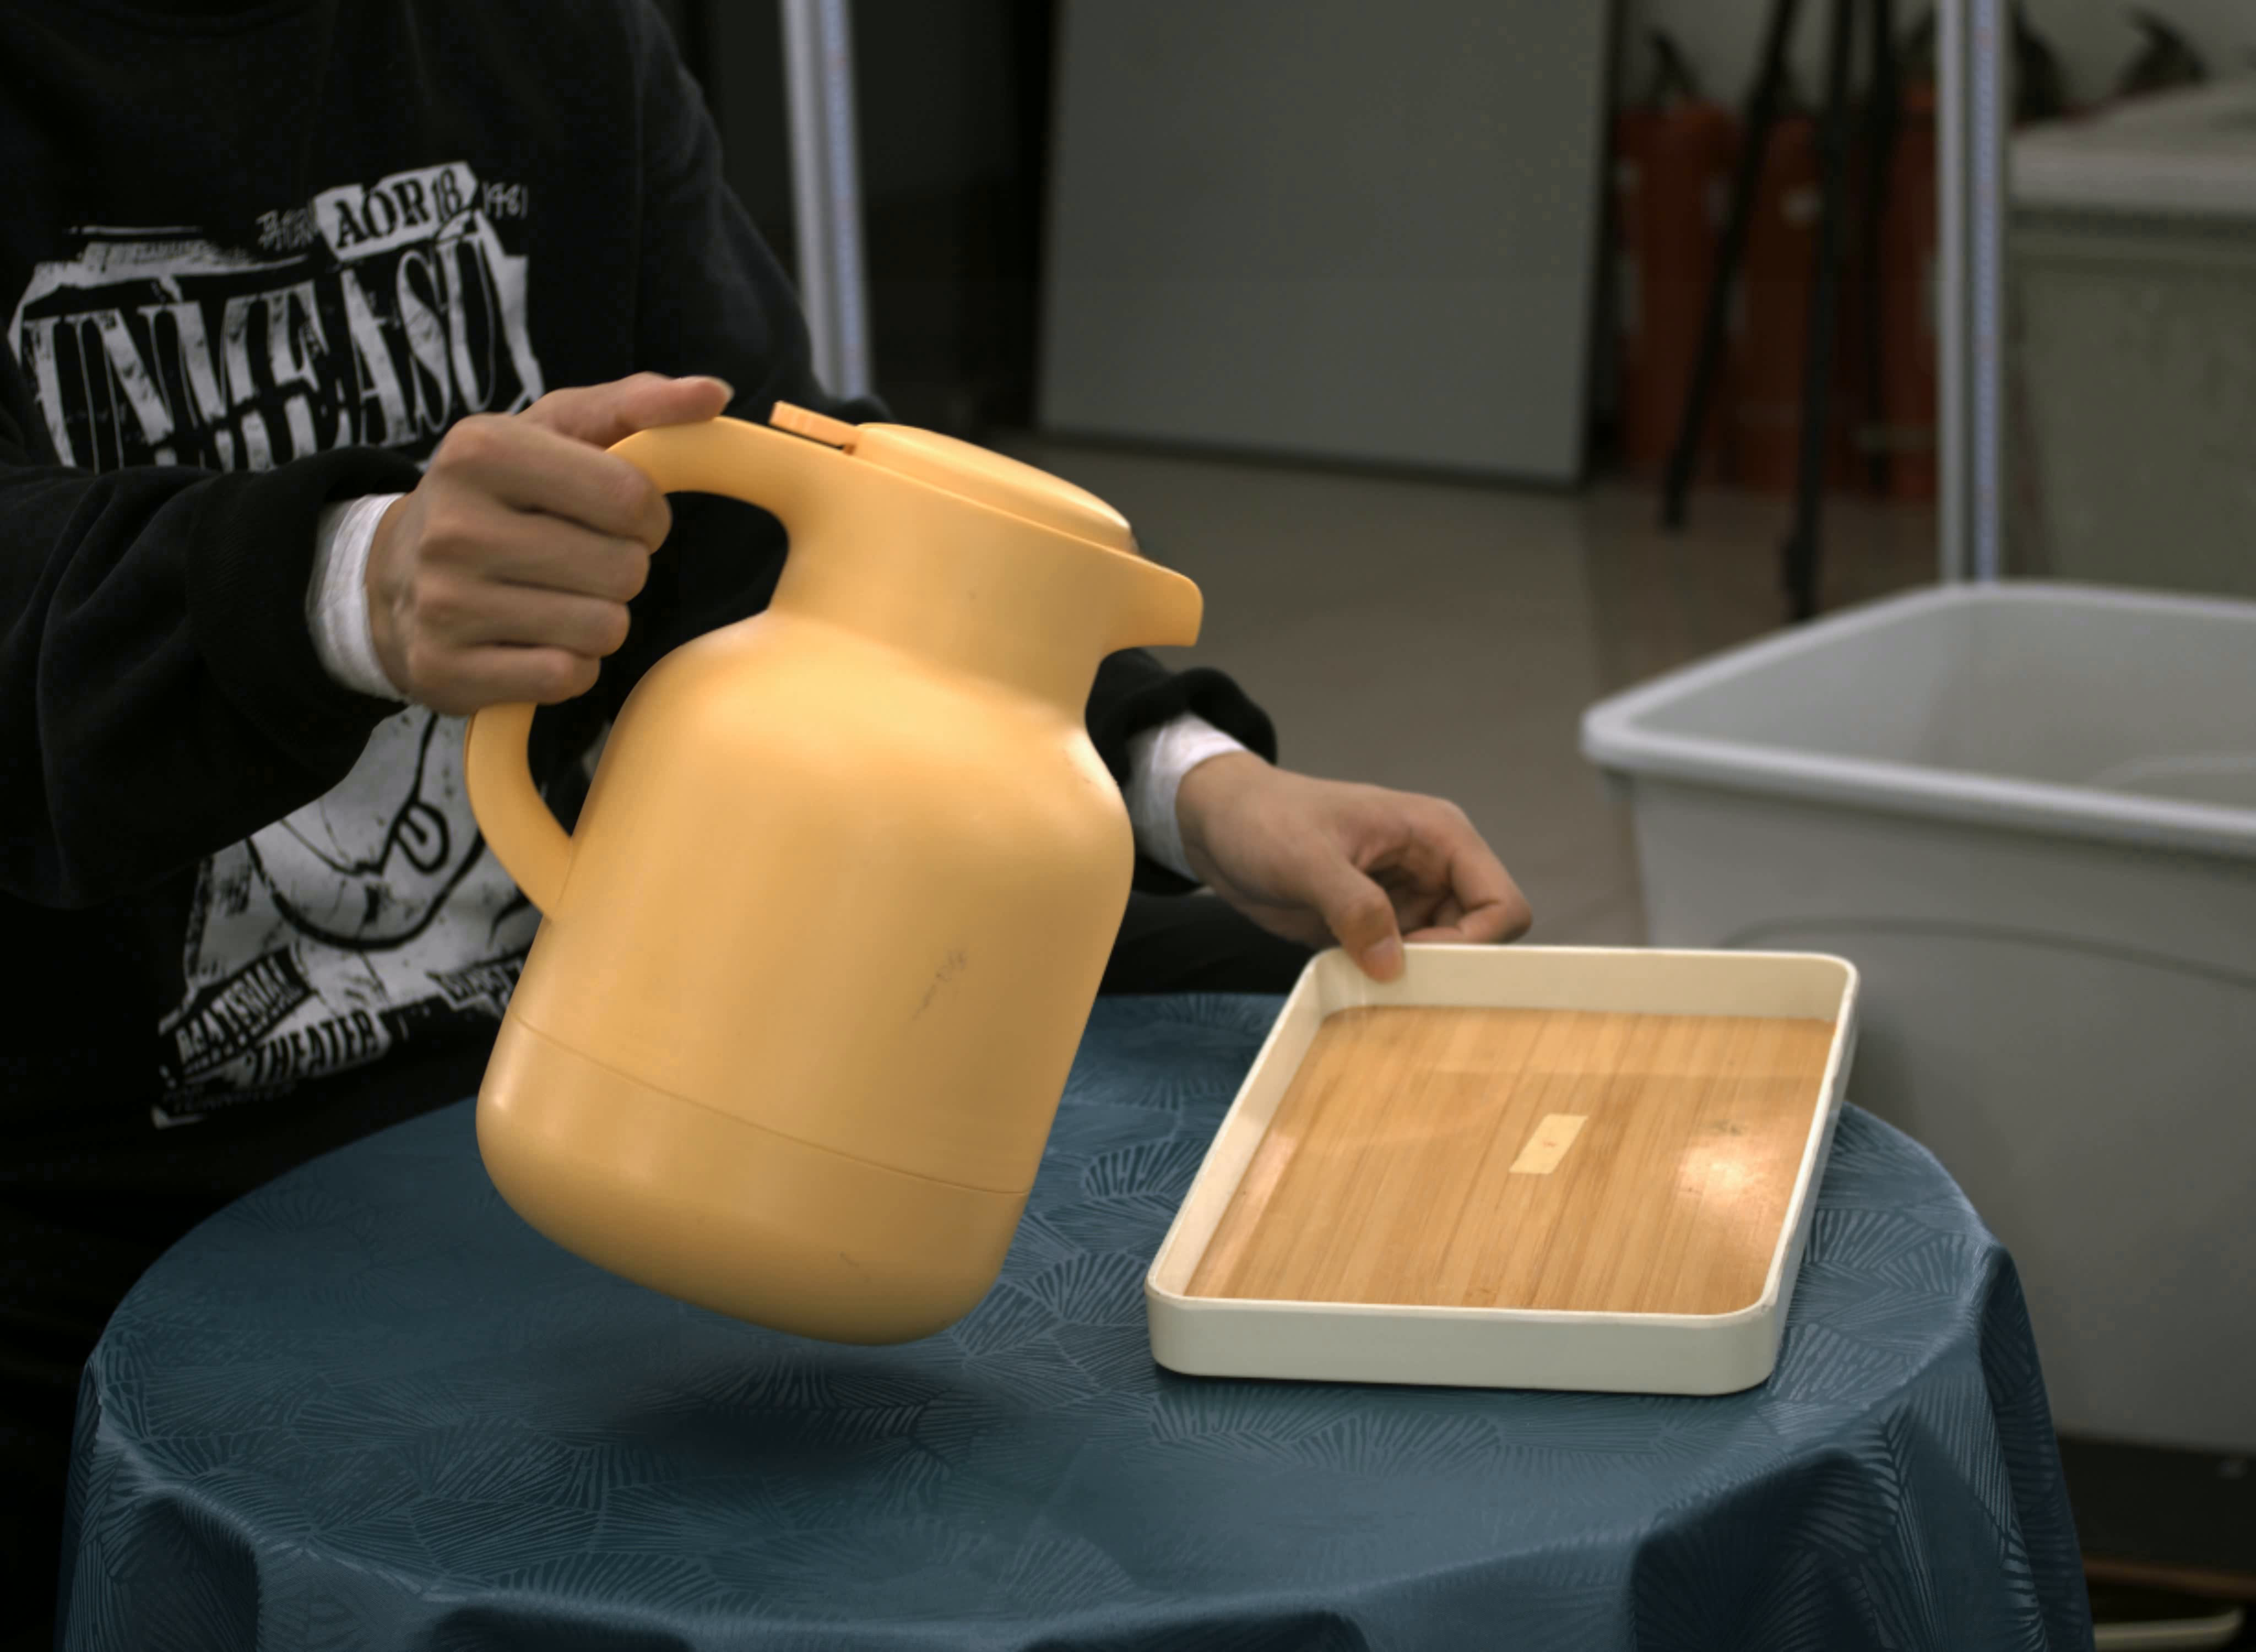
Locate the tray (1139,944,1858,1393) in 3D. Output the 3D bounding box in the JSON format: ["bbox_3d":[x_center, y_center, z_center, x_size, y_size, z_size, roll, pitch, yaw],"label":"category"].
[{"bbox_3d":[0.124,0.103,1.701,0.191,0.027,0.298,0,19,14],"label":"tray"}]

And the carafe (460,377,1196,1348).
[{"bbox_3d":[-0.101,0.003,1.570,0.199,0.263,0.164,19,1,-7],"label":"carafe"}]
